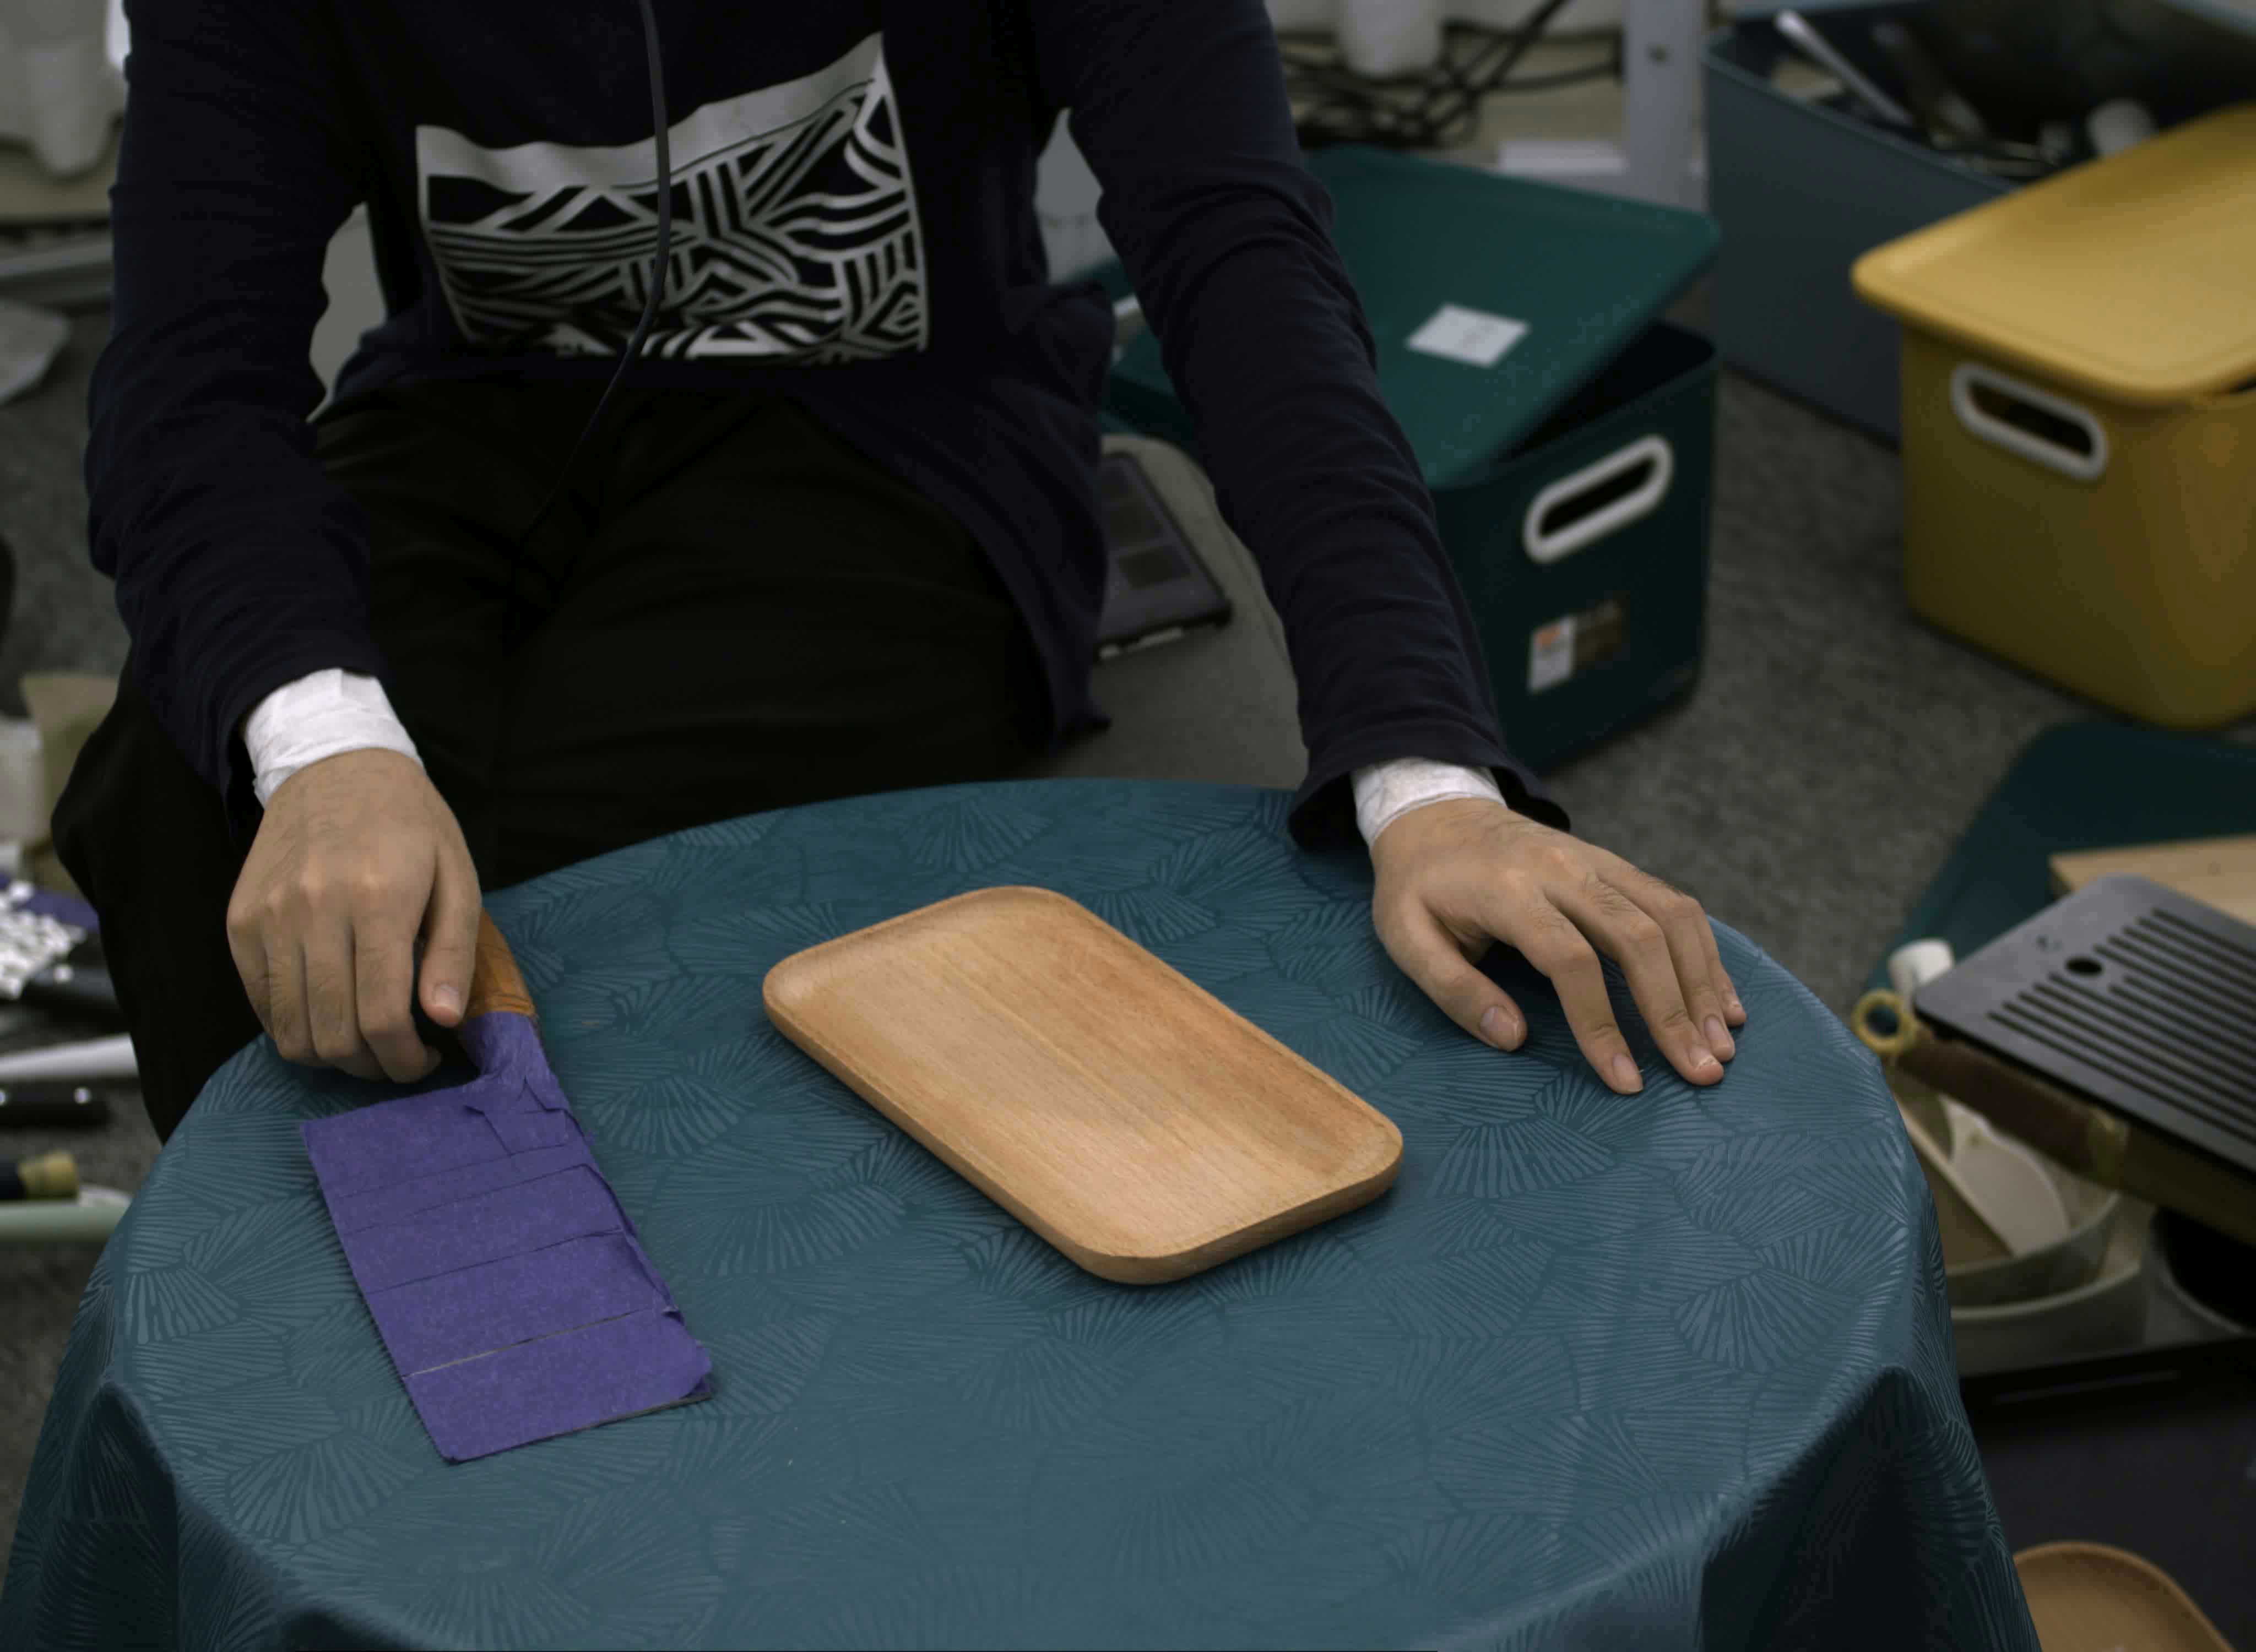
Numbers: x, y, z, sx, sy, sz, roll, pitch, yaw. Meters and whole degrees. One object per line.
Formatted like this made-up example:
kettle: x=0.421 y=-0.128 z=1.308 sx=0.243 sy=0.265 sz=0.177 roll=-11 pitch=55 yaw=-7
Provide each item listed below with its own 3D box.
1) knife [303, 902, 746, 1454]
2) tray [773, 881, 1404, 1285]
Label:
knife: x=-0.221 y=0.113 z=1.871 sx=0.104 sy=0.032 sz=0.318 roll=-12 pitch=29 yaw=-17
tray: x=-0.017 y=0.085 z=1.916 sx=0.131 sy=0.022 sz=0.251 roll=-15 pitch=29 yaw=-27
